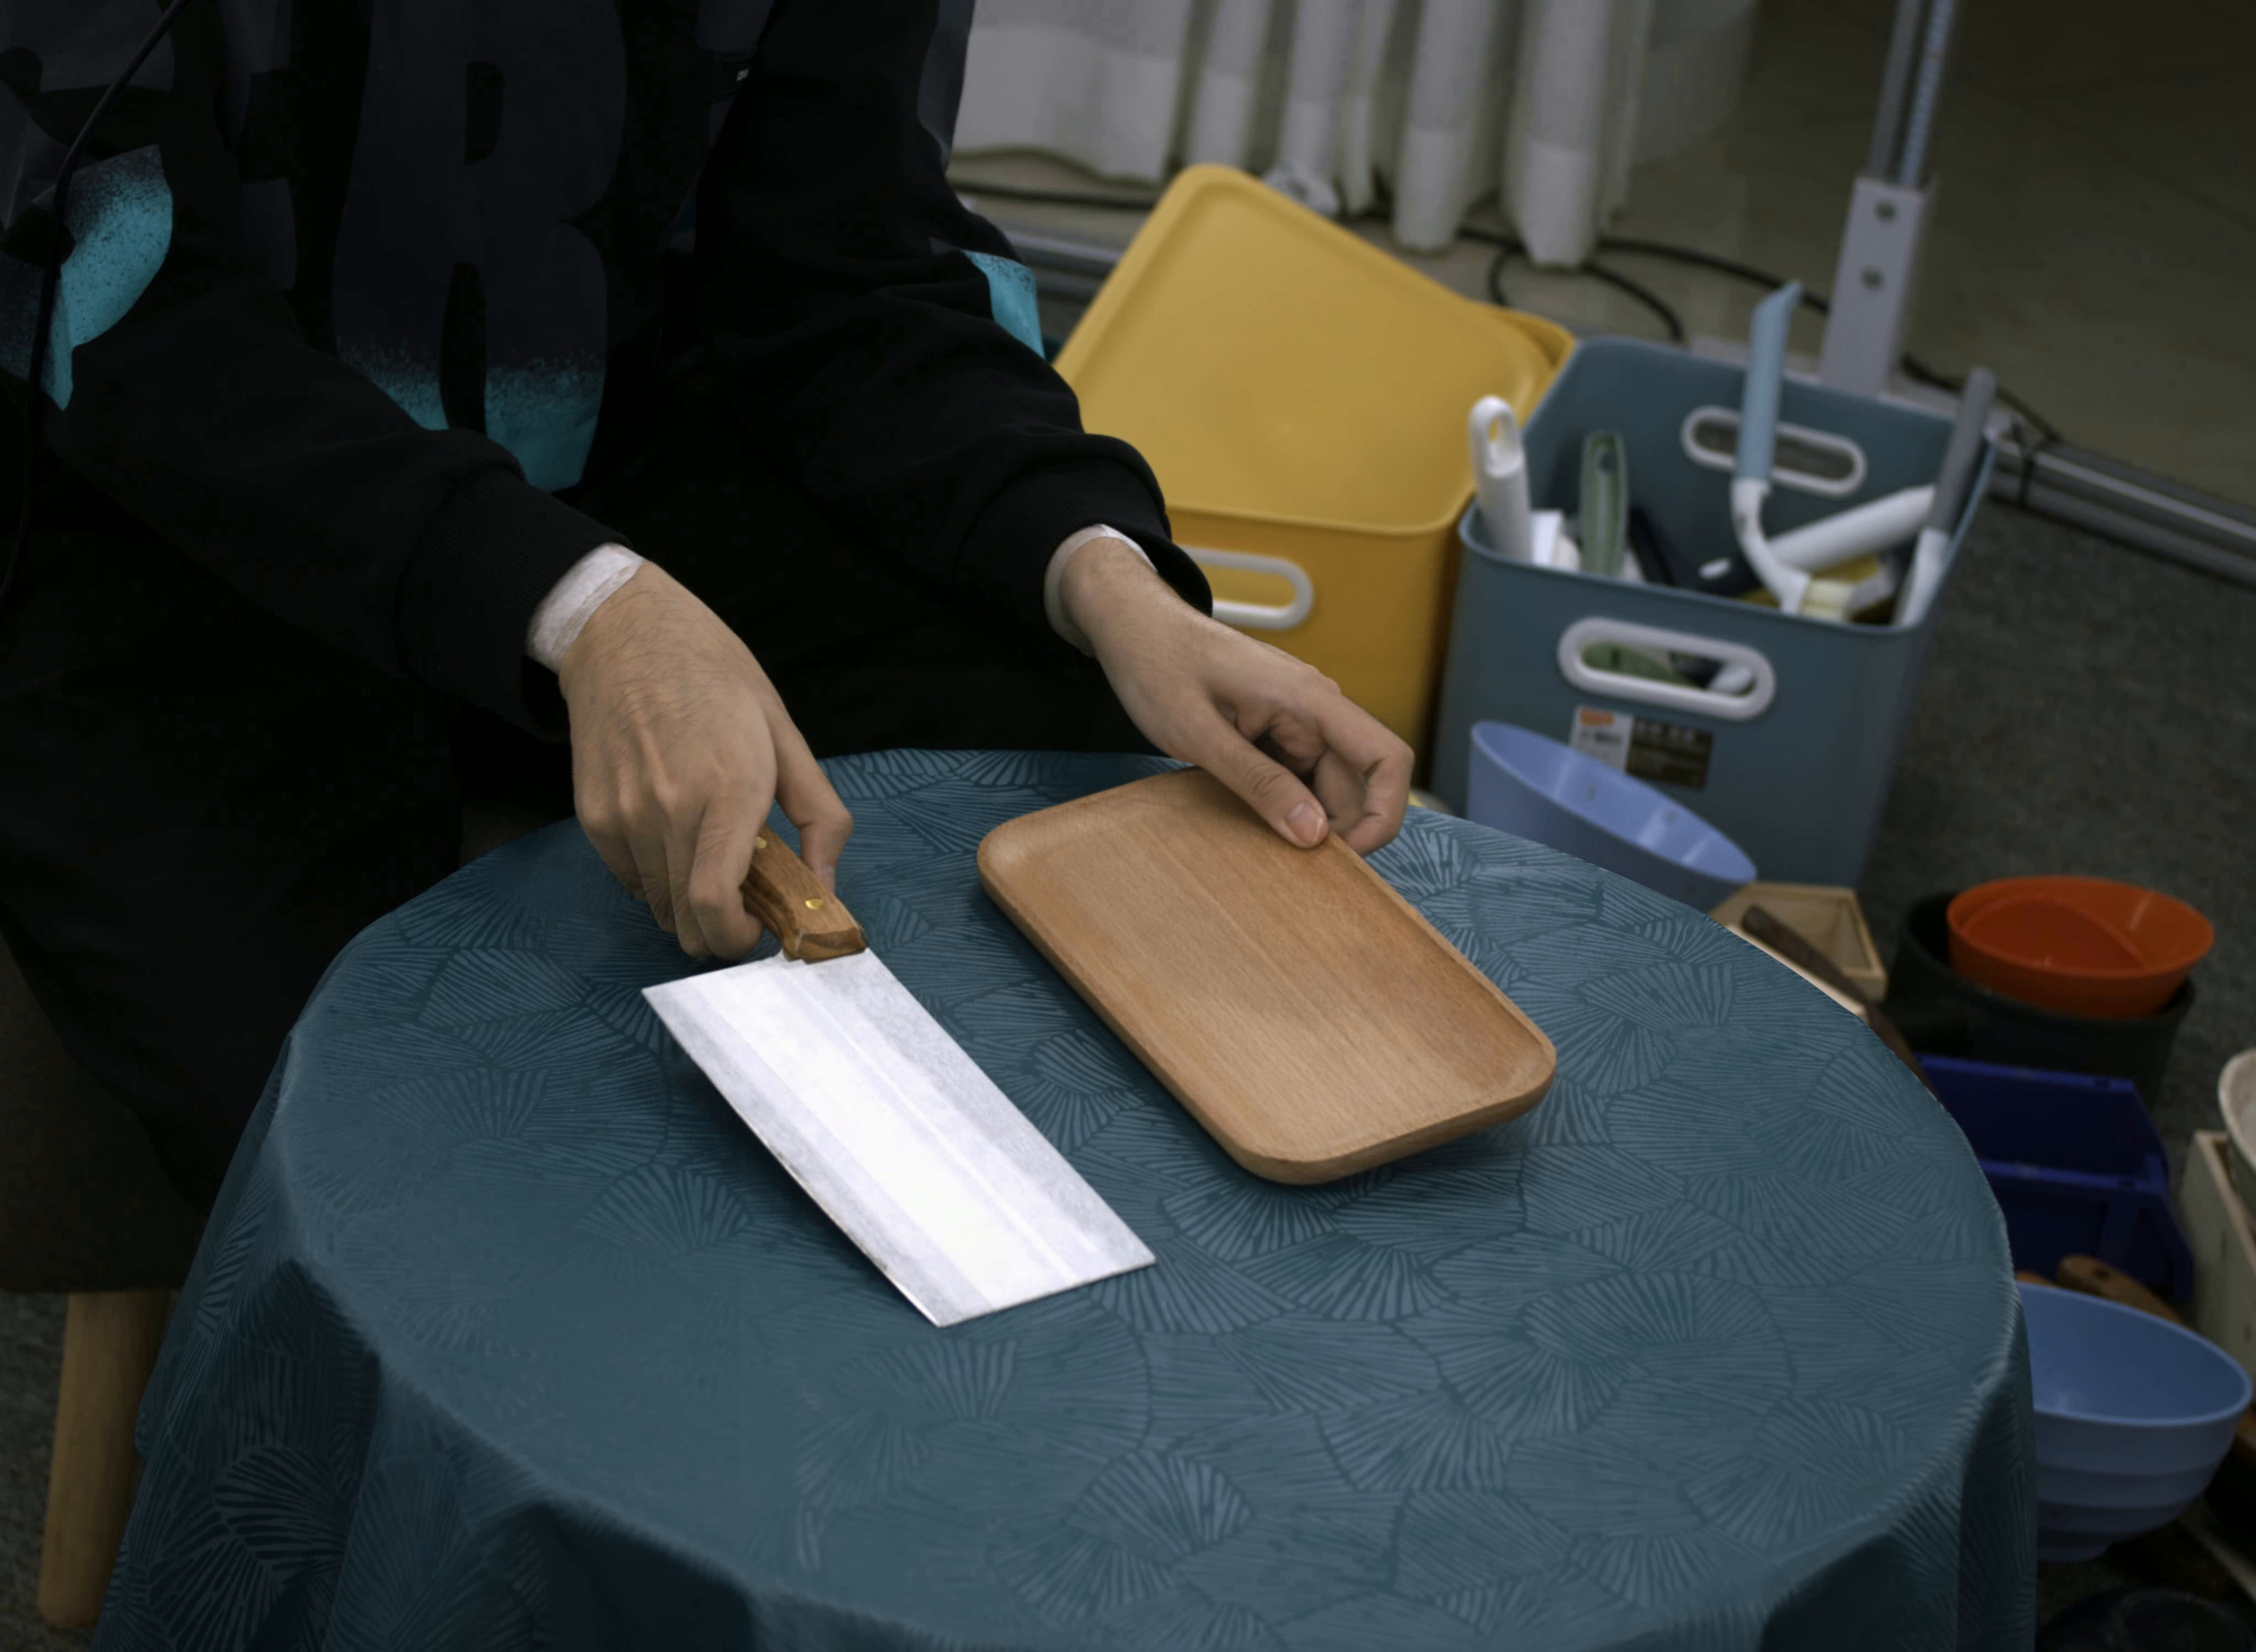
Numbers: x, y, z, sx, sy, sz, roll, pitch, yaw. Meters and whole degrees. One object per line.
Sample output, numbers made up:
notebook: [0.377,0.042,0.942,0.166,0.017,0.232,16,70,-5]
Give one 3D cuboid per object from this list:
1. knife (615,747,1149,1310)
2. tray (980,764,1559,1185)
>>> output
knife: [-0.109,0.068,1.833,0.092,0.021,0.308,-13,42,-33]
tray: [0.047,0.051,1.917,0.130,0.023,0.253,-14,32,-21]
